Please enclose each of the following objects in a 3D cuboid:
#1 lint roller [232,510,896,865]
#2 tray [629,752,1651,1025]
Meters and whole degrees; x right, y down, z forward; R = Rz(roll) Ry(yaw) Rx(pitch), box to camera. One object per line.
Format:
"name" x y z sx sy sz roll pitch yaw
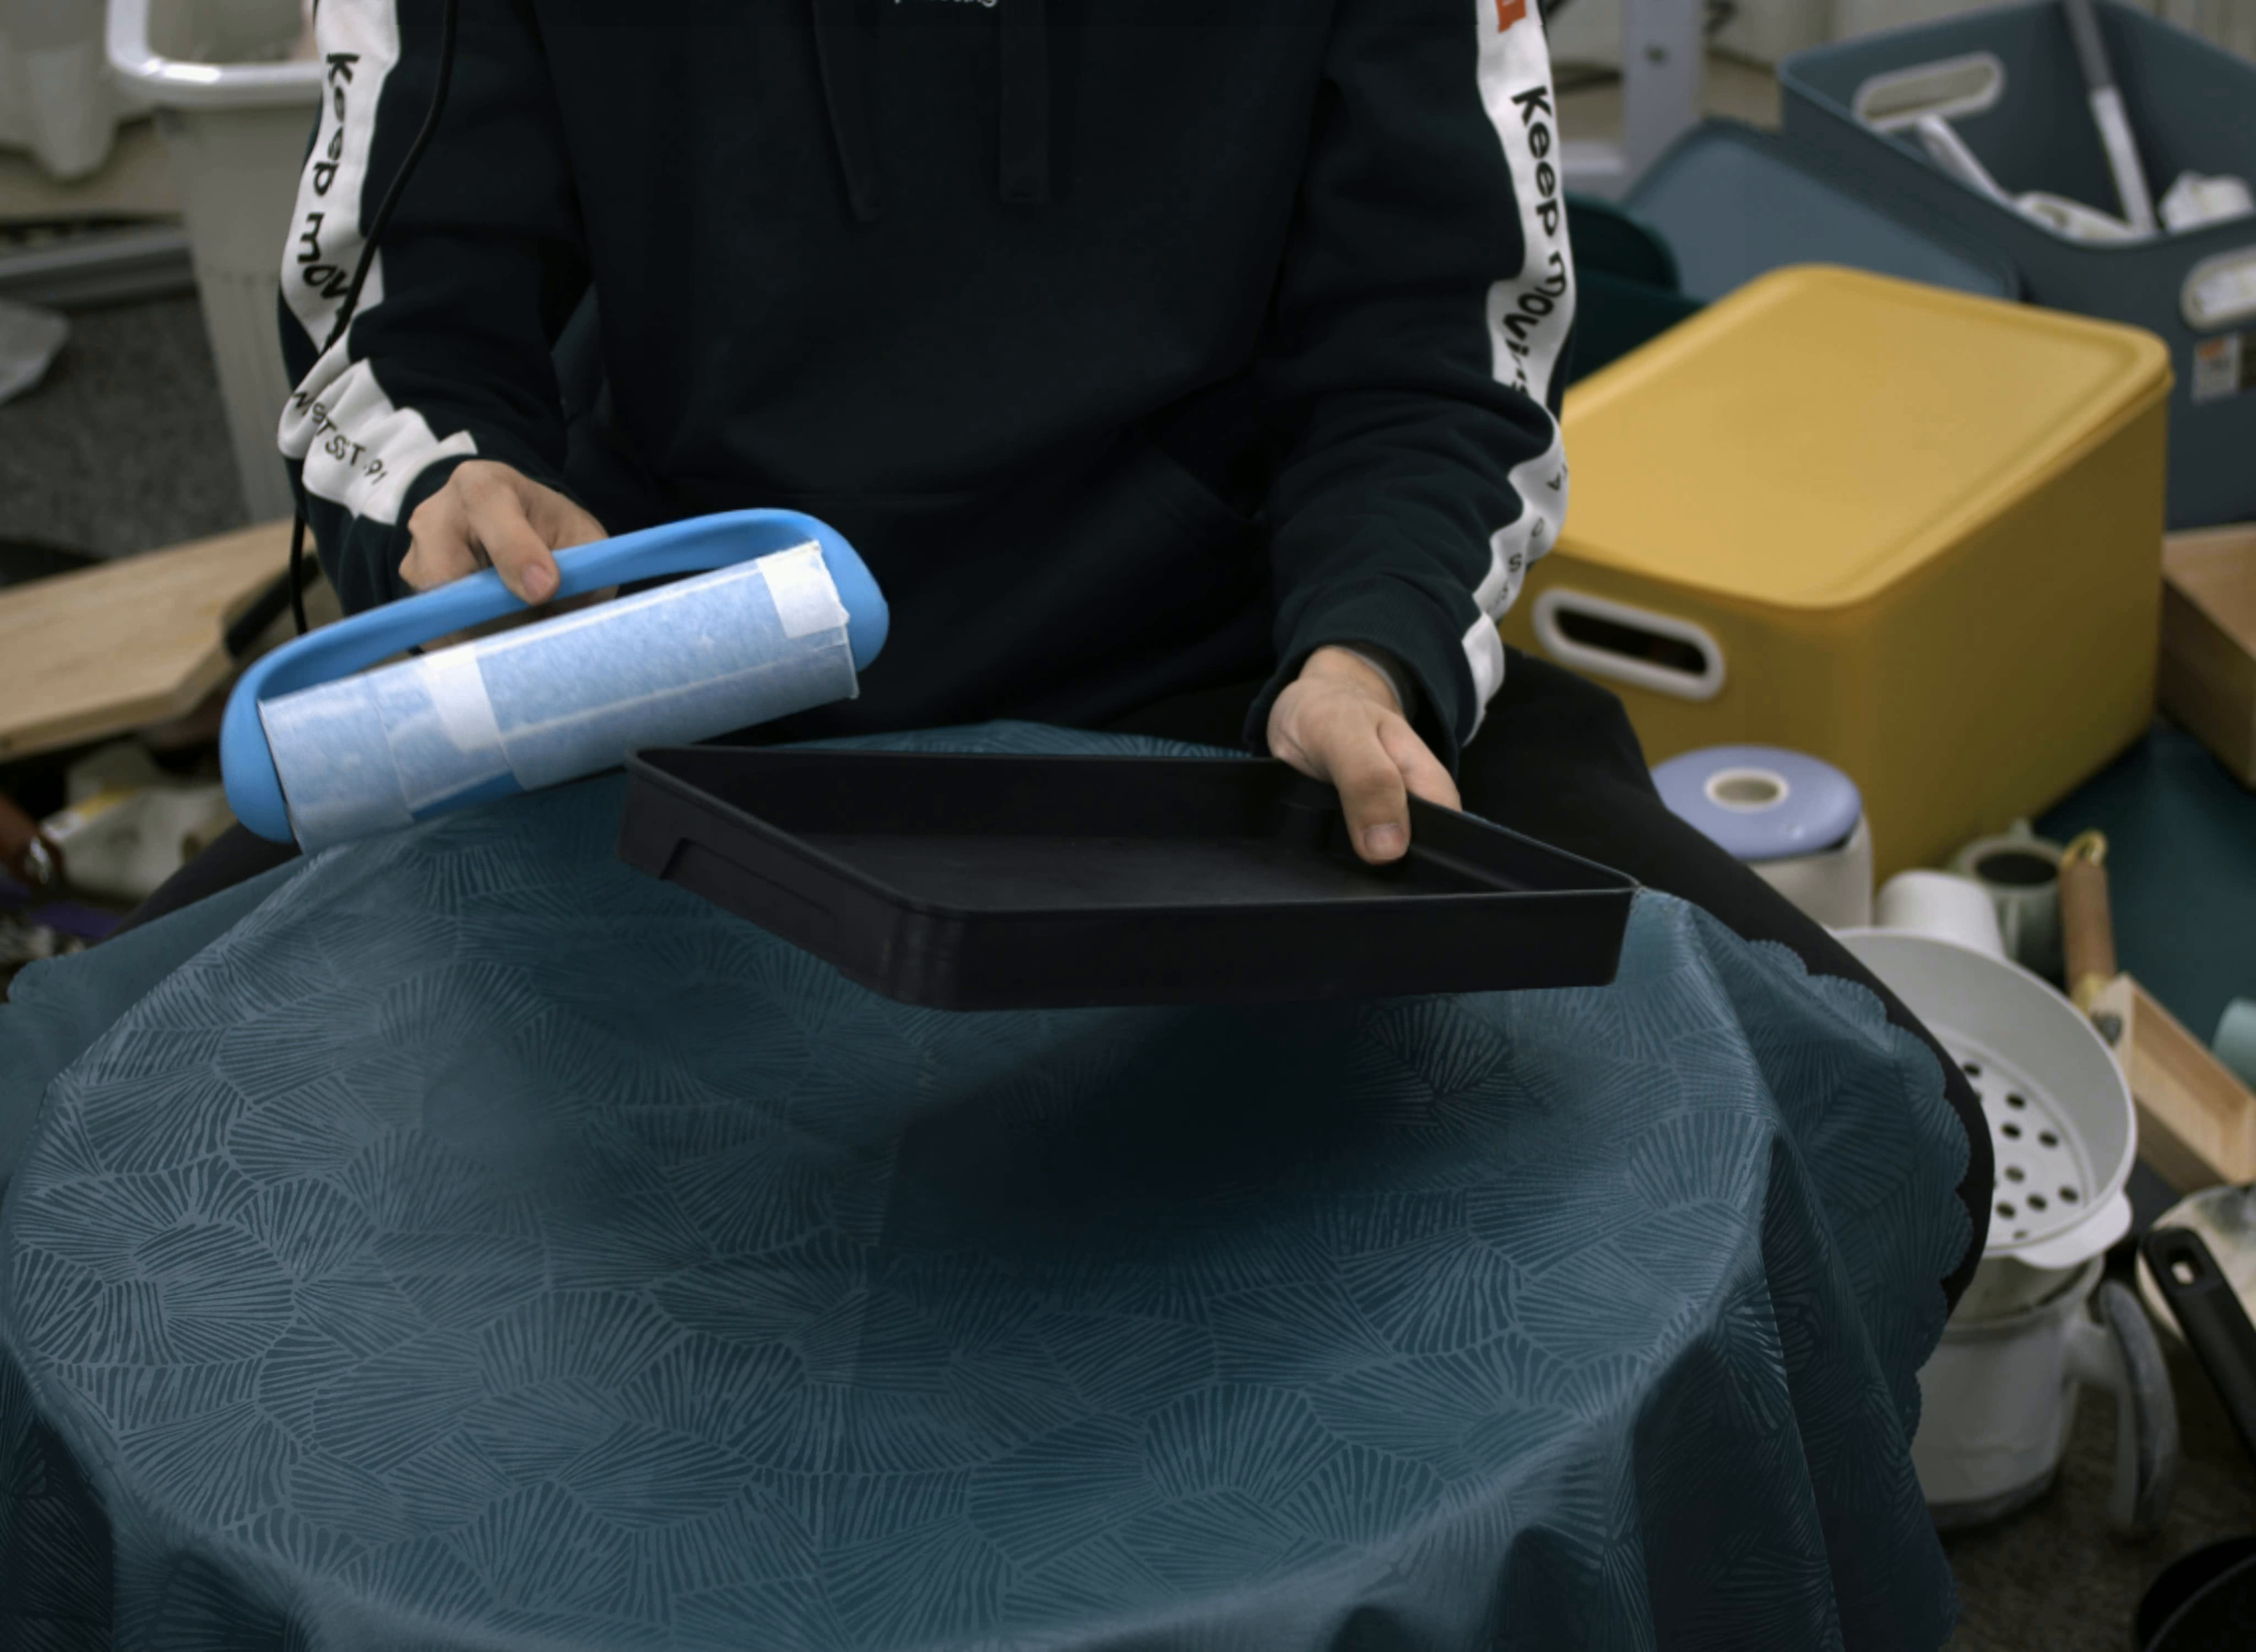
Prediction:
"lint roller" -0.204 -0.058 1.931 0.229 0.067 0.181 -20 21 -12
"tray" 0.006 0.017 1.851 0.319 0.037 0.184 -2 16 -42
